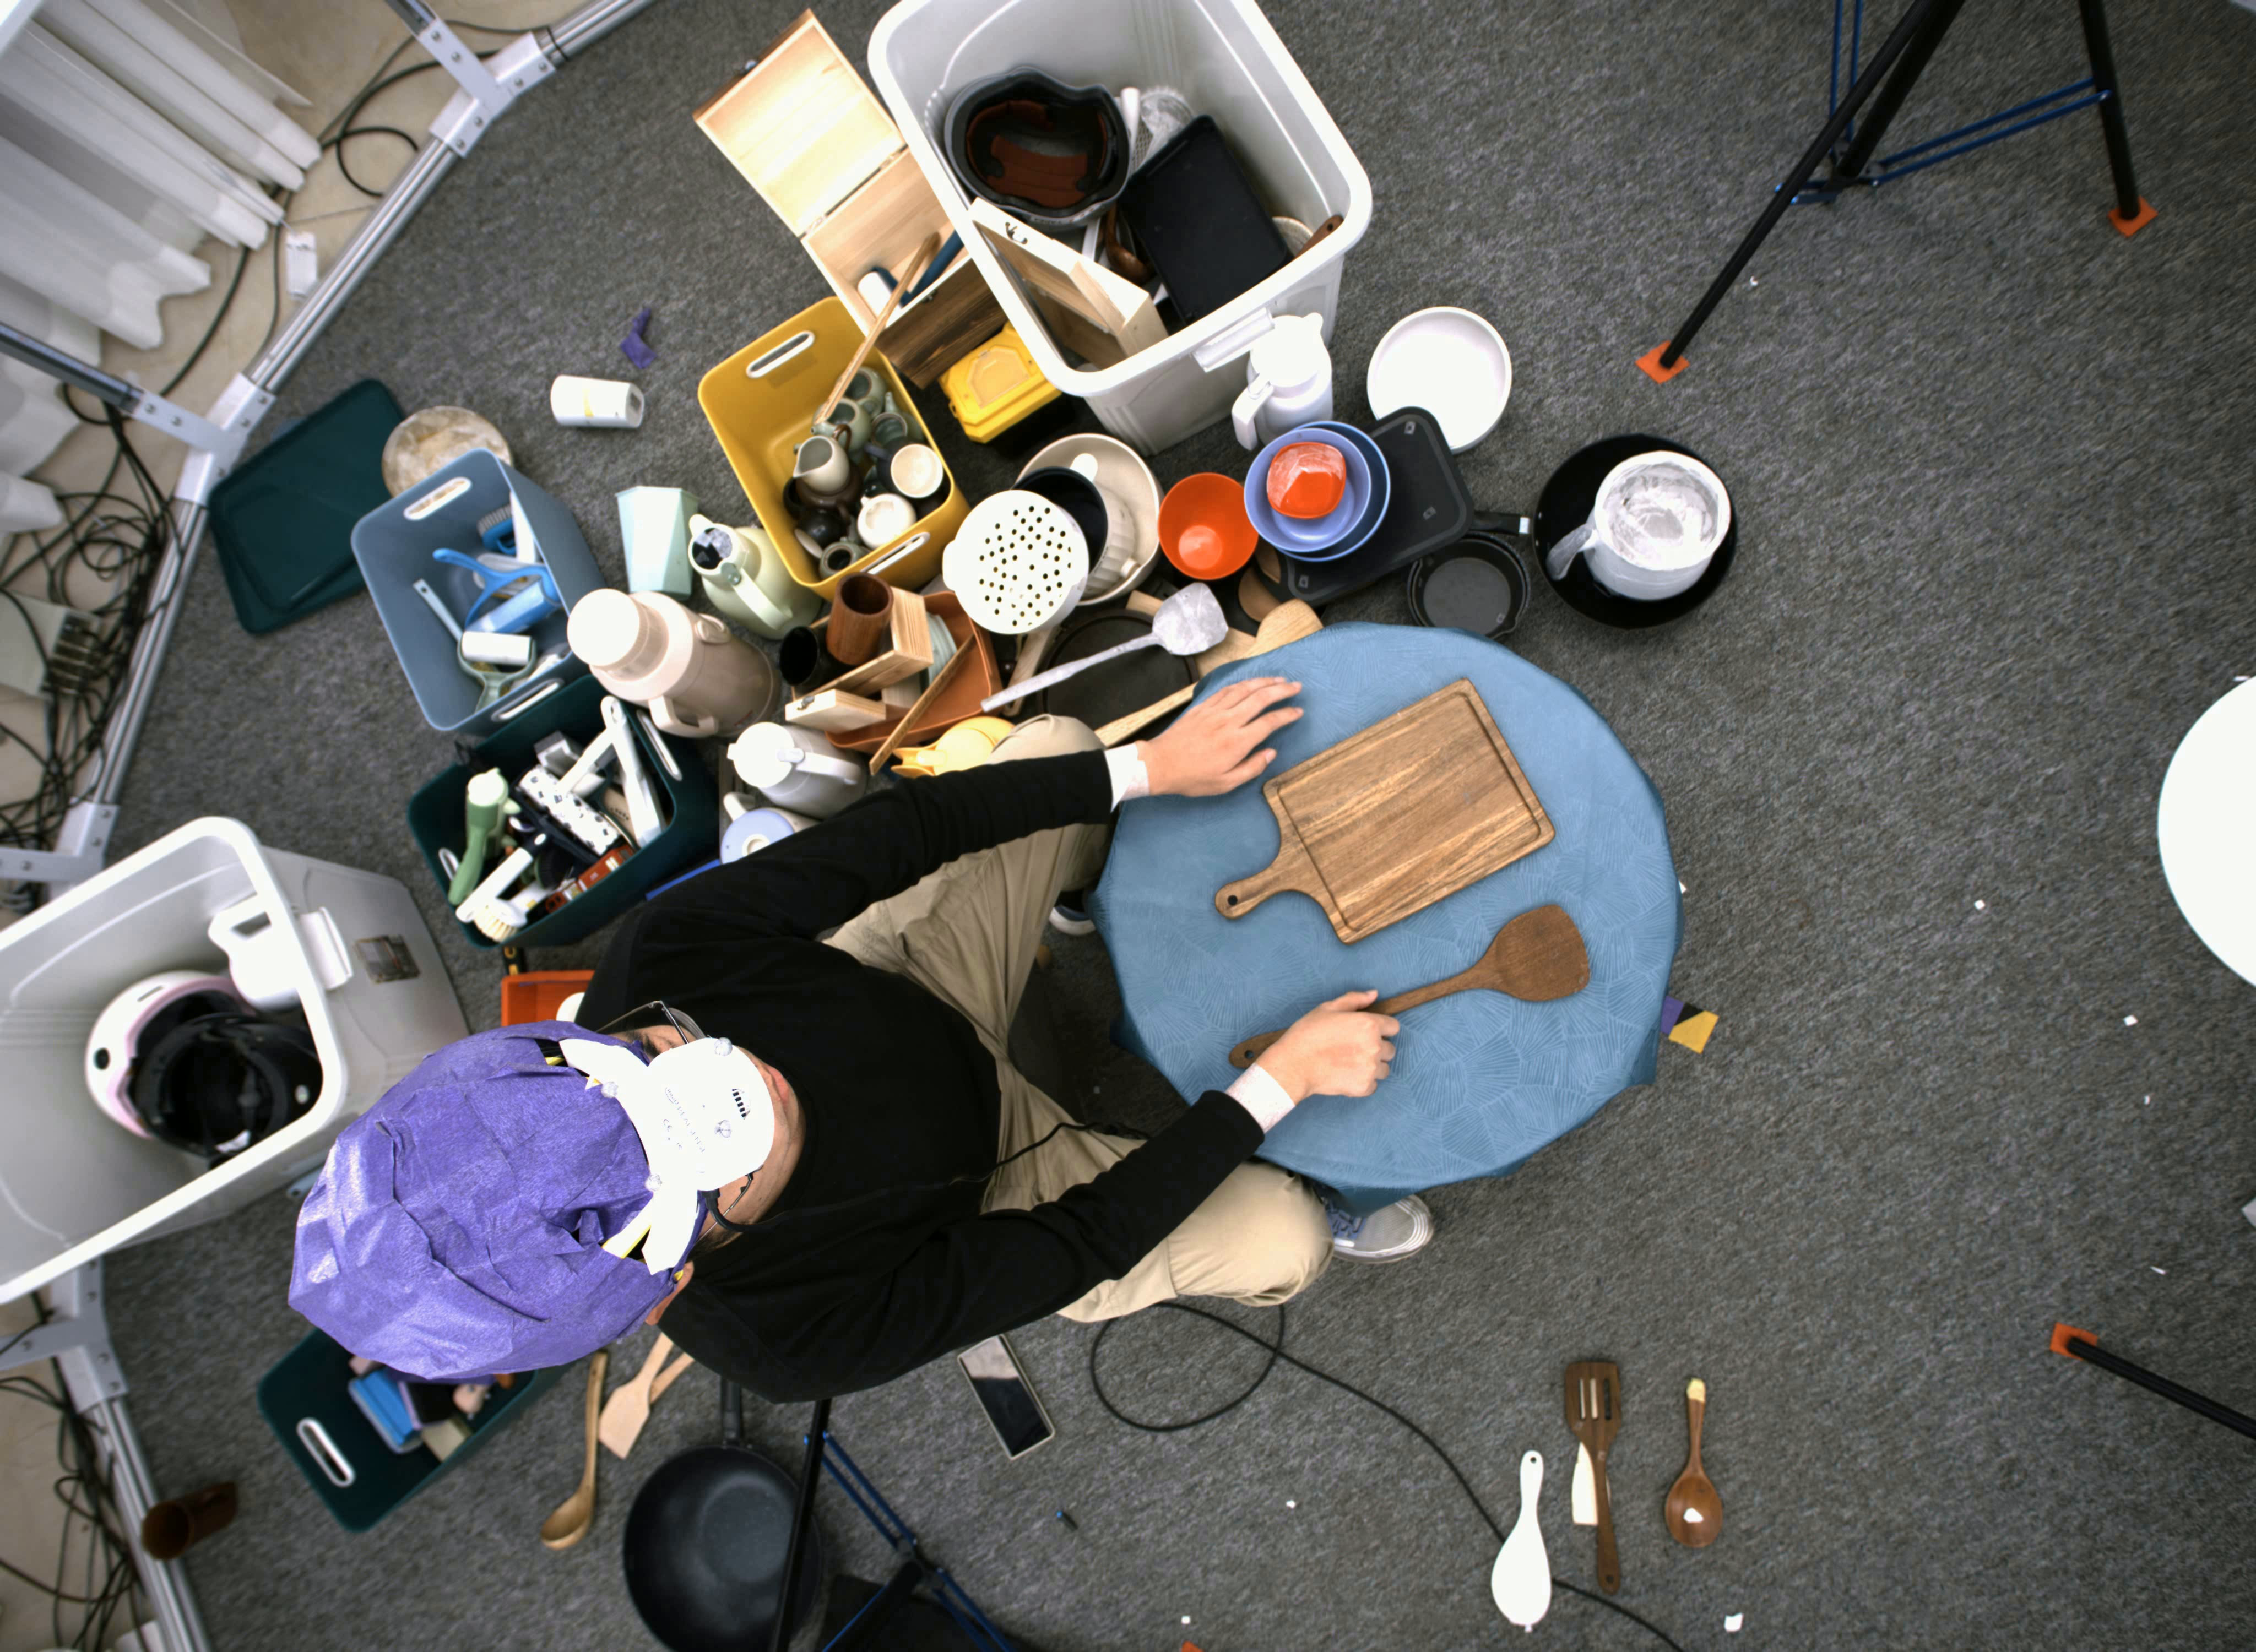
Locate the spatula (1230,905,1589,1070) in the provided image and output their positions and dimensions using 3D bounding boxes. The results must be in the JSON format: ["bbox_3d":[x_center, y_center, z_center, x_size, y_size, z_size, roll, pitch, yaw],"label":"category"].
[{"bbox_3d":[0.288,0.183,1.443,0.388,0.016,0.095,-20,83,9],"label":"spatula"}]

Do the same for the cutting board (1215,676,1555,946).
[{"bbox_3d":[0.248,0.006,1.457,0.354,0.023,0.200,-29,82,8],"label":"cutting board"}]
